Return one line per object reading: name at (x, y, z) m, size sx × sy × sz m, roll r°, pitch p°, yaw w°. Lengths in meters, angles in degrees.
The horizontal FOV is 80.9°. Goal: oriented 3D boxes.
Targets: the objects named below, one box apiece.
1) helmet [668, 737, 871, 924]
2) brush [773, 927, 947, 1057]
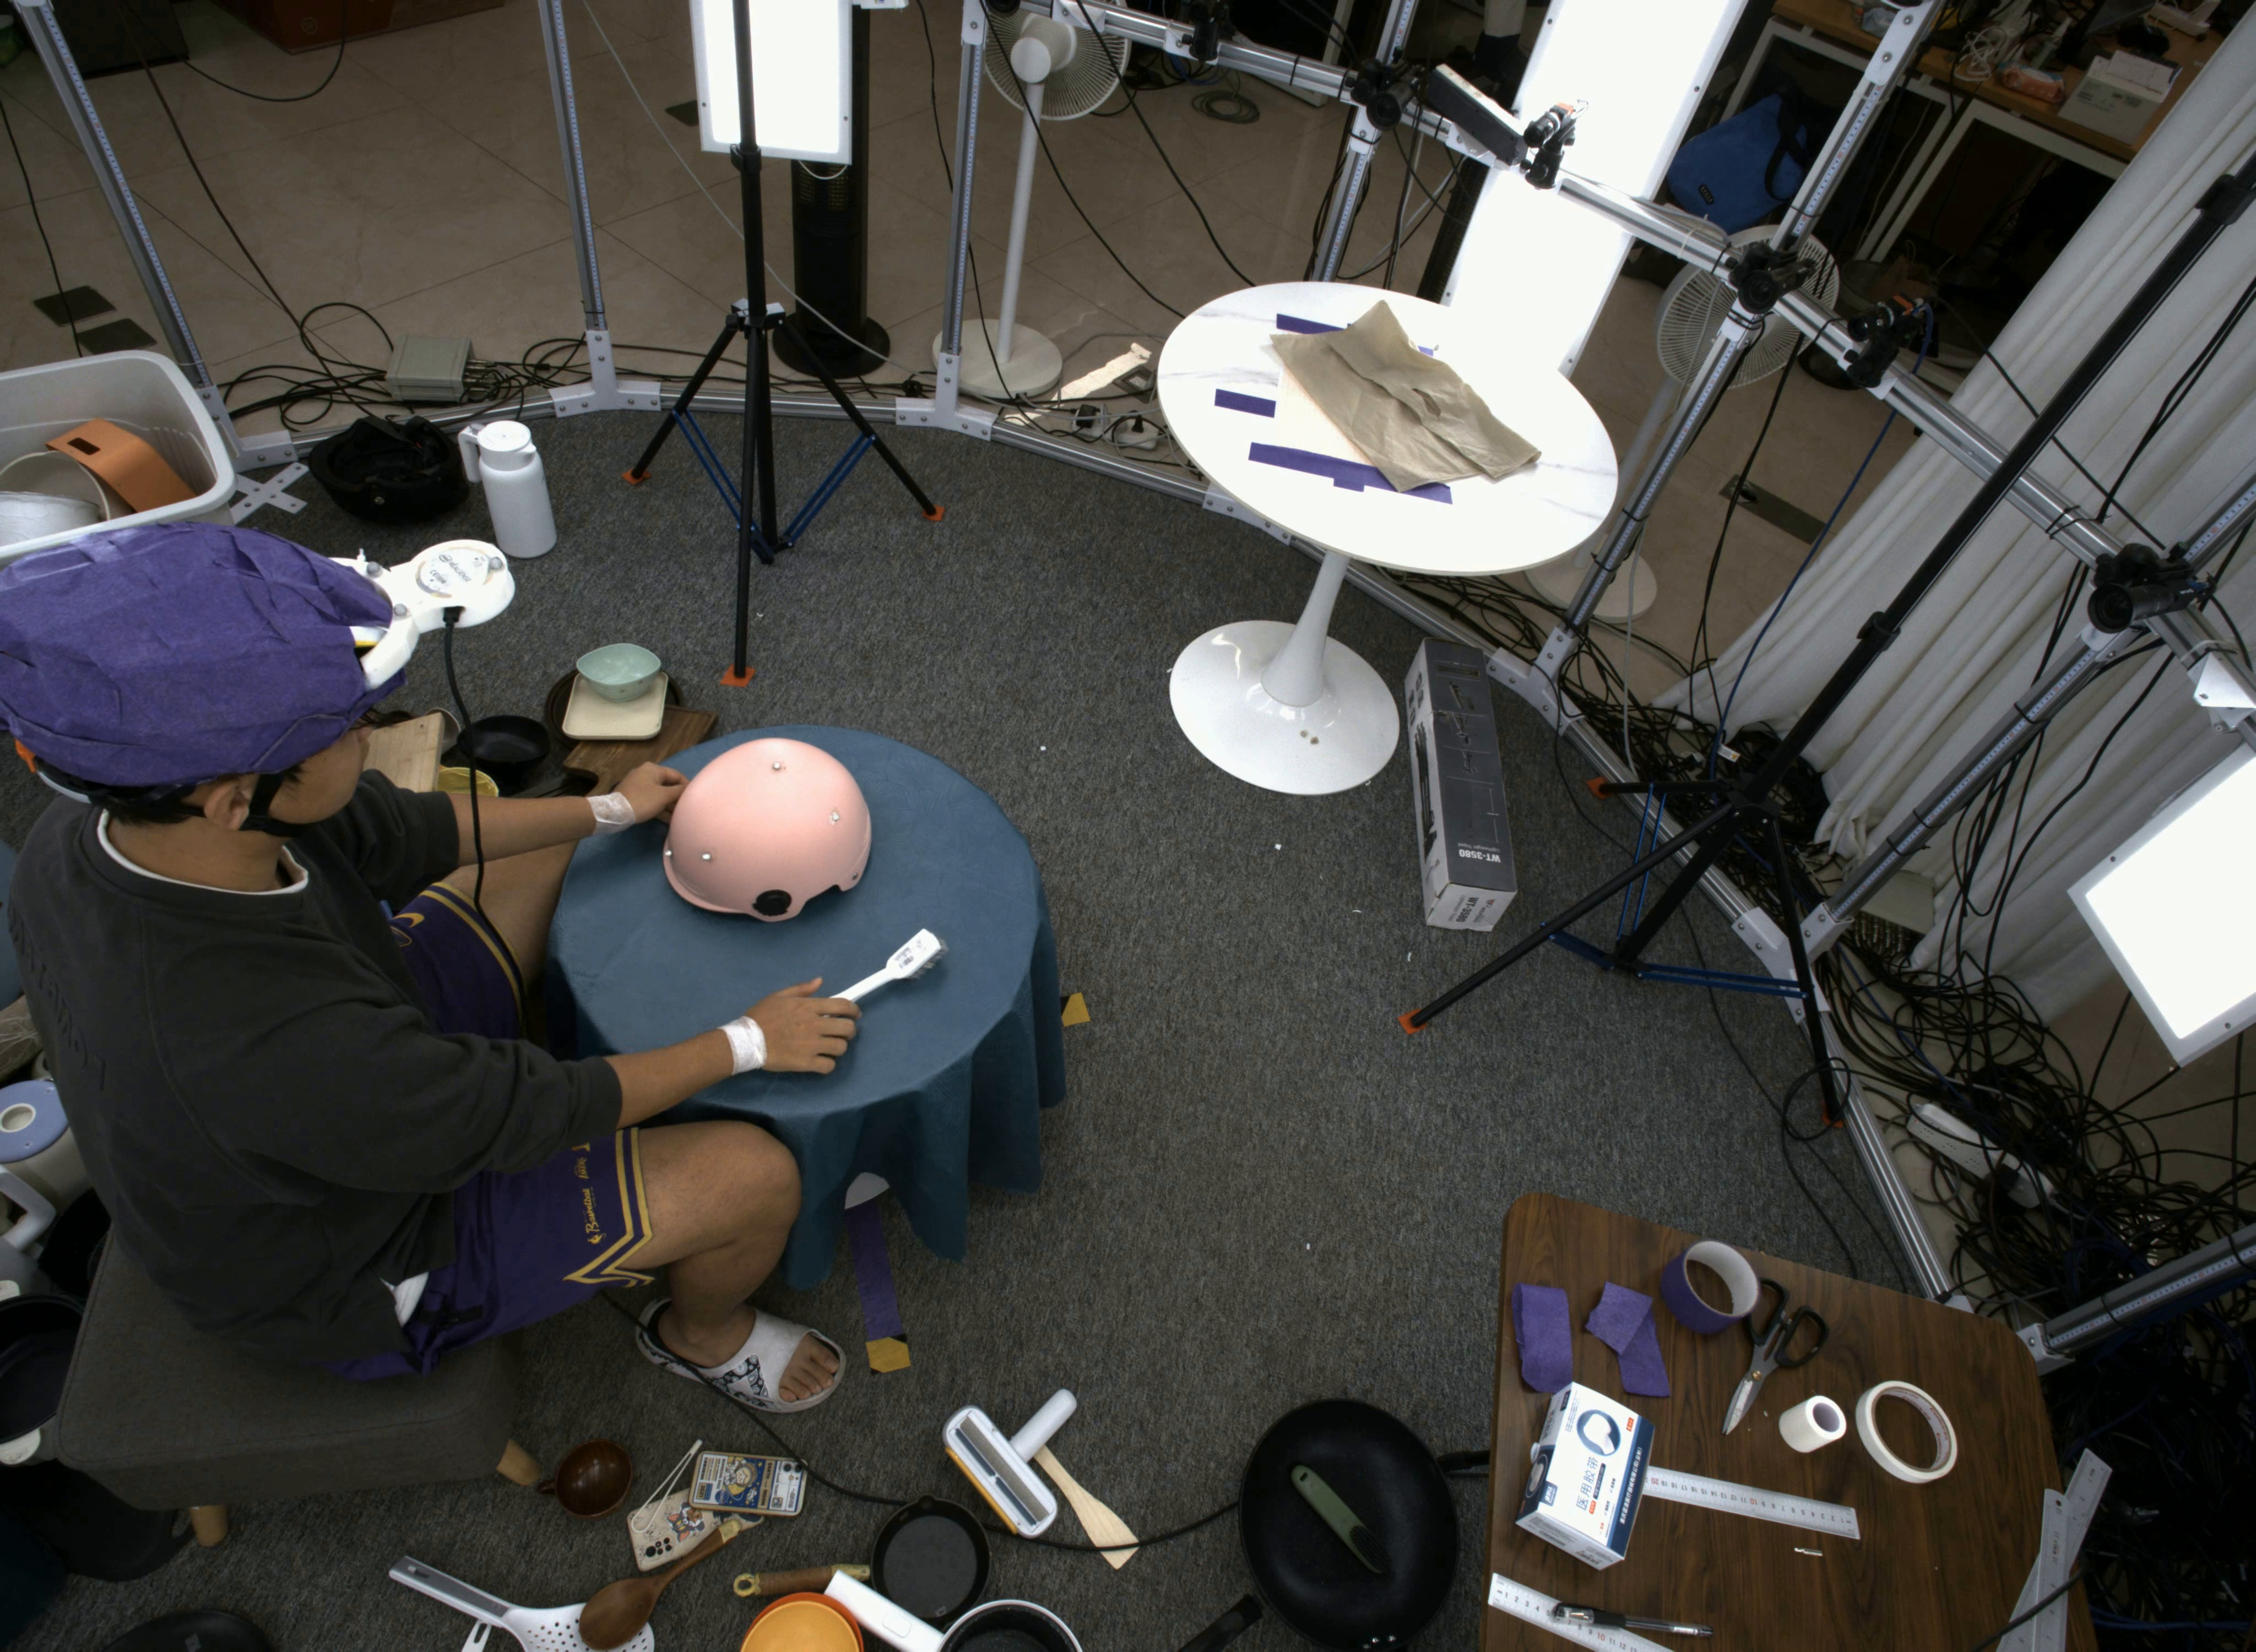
helmet at (-0.460, -0.014, 1.634) m, size 0.266 × 0.162 × 0.228 m, roll -20°, pitch 61°, yaw -21°
brush at (-0.326, 0.205, 1.587) m, size 0.243 × 0.051 × 0.033 m, roll -37°, pitch 69°, yaw -19°
